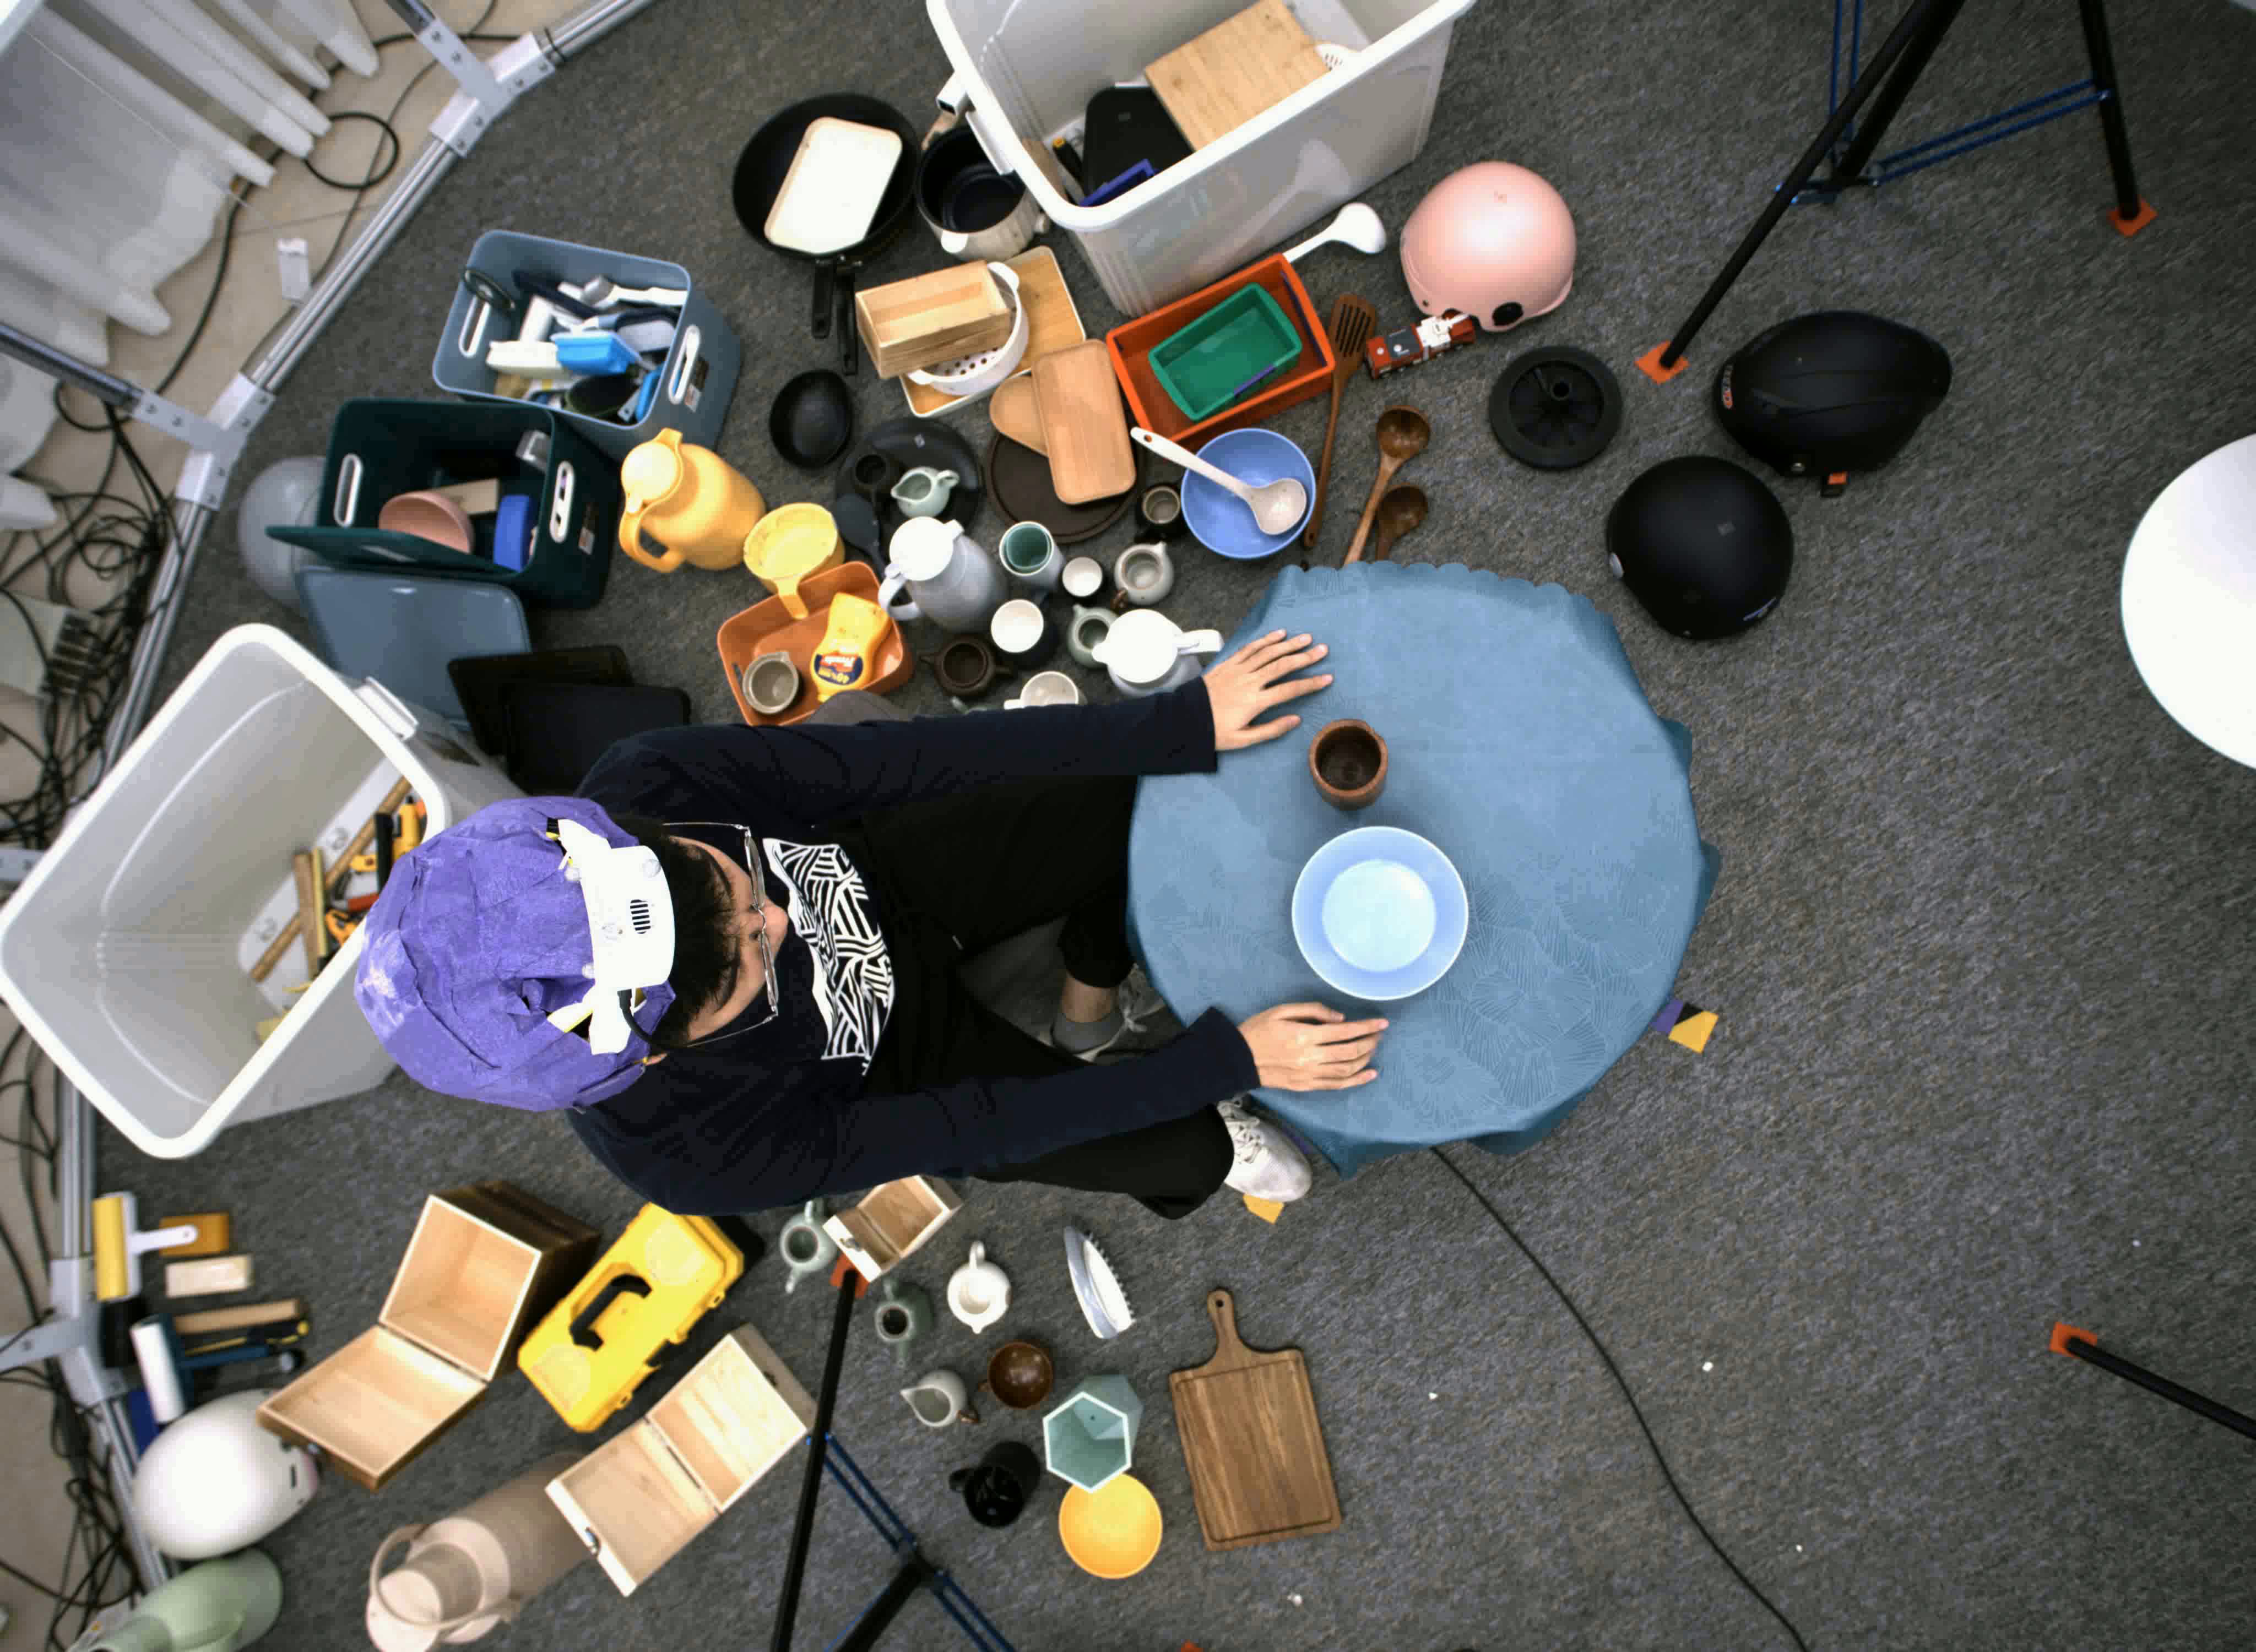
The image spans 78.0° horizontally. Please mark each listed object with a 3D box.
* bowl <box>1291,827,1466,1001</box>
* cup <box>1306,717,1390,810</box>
[{"bbox_3d":[0.258,0.090,1.425,0.177,0.070,0.175,-1,86,11],"label":"bowl"},{"bbox_3d":[0.229,-0.062,1.414,0.088,0.118,0.087,-1,84,12],"label":"cup"}]
